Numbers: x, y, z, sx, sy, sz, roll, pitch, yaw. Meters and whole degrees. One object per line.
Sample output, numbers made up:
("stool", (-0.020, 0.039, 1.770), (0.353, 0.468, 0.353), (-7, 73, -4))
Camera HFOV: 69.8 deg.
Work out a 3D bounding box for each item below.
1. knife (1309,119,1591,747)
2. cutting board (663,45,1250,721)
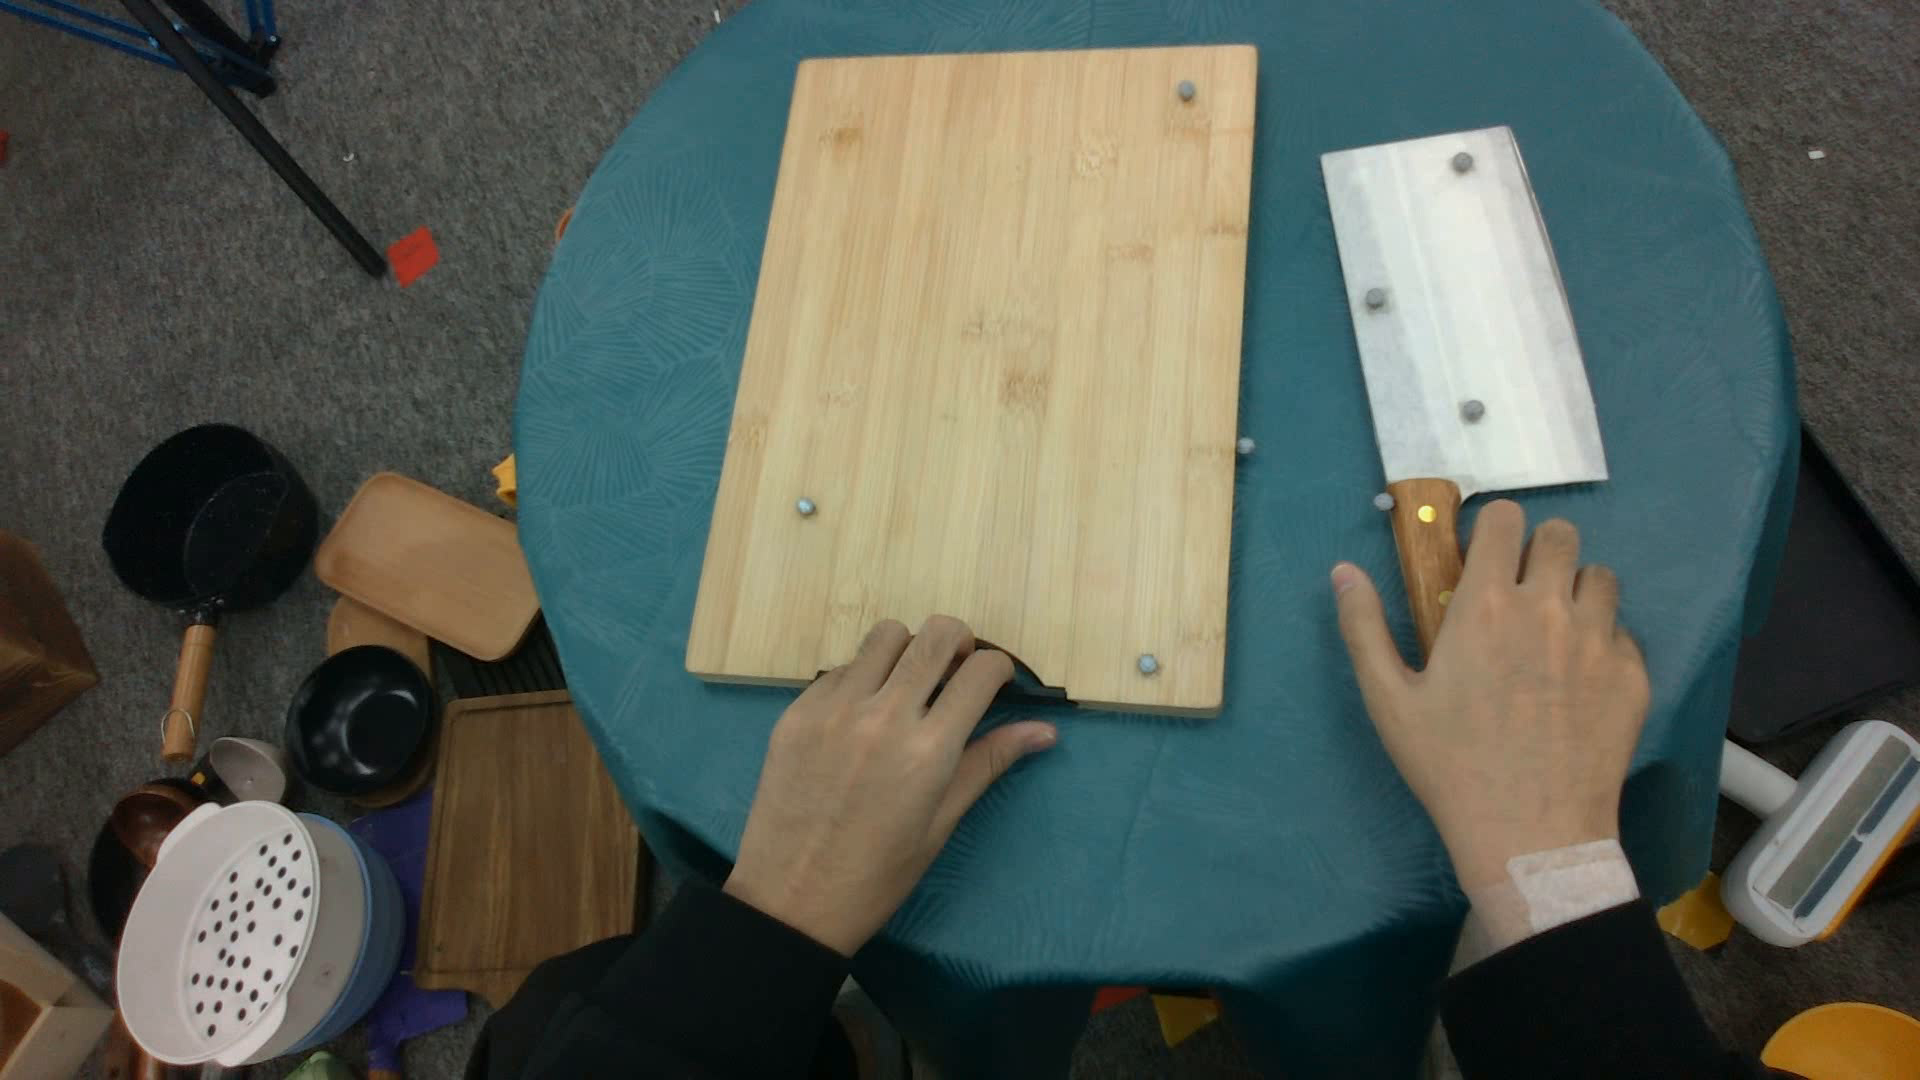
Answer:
("knife", (0.222, -0.062, 0.605), (0.093, 0.021, 0.307), (-7, 65, 7))
("cutting board", (0.007, -0.092, 0.657), (0.250, 0.023, 0.350), (2, 69, 12))
